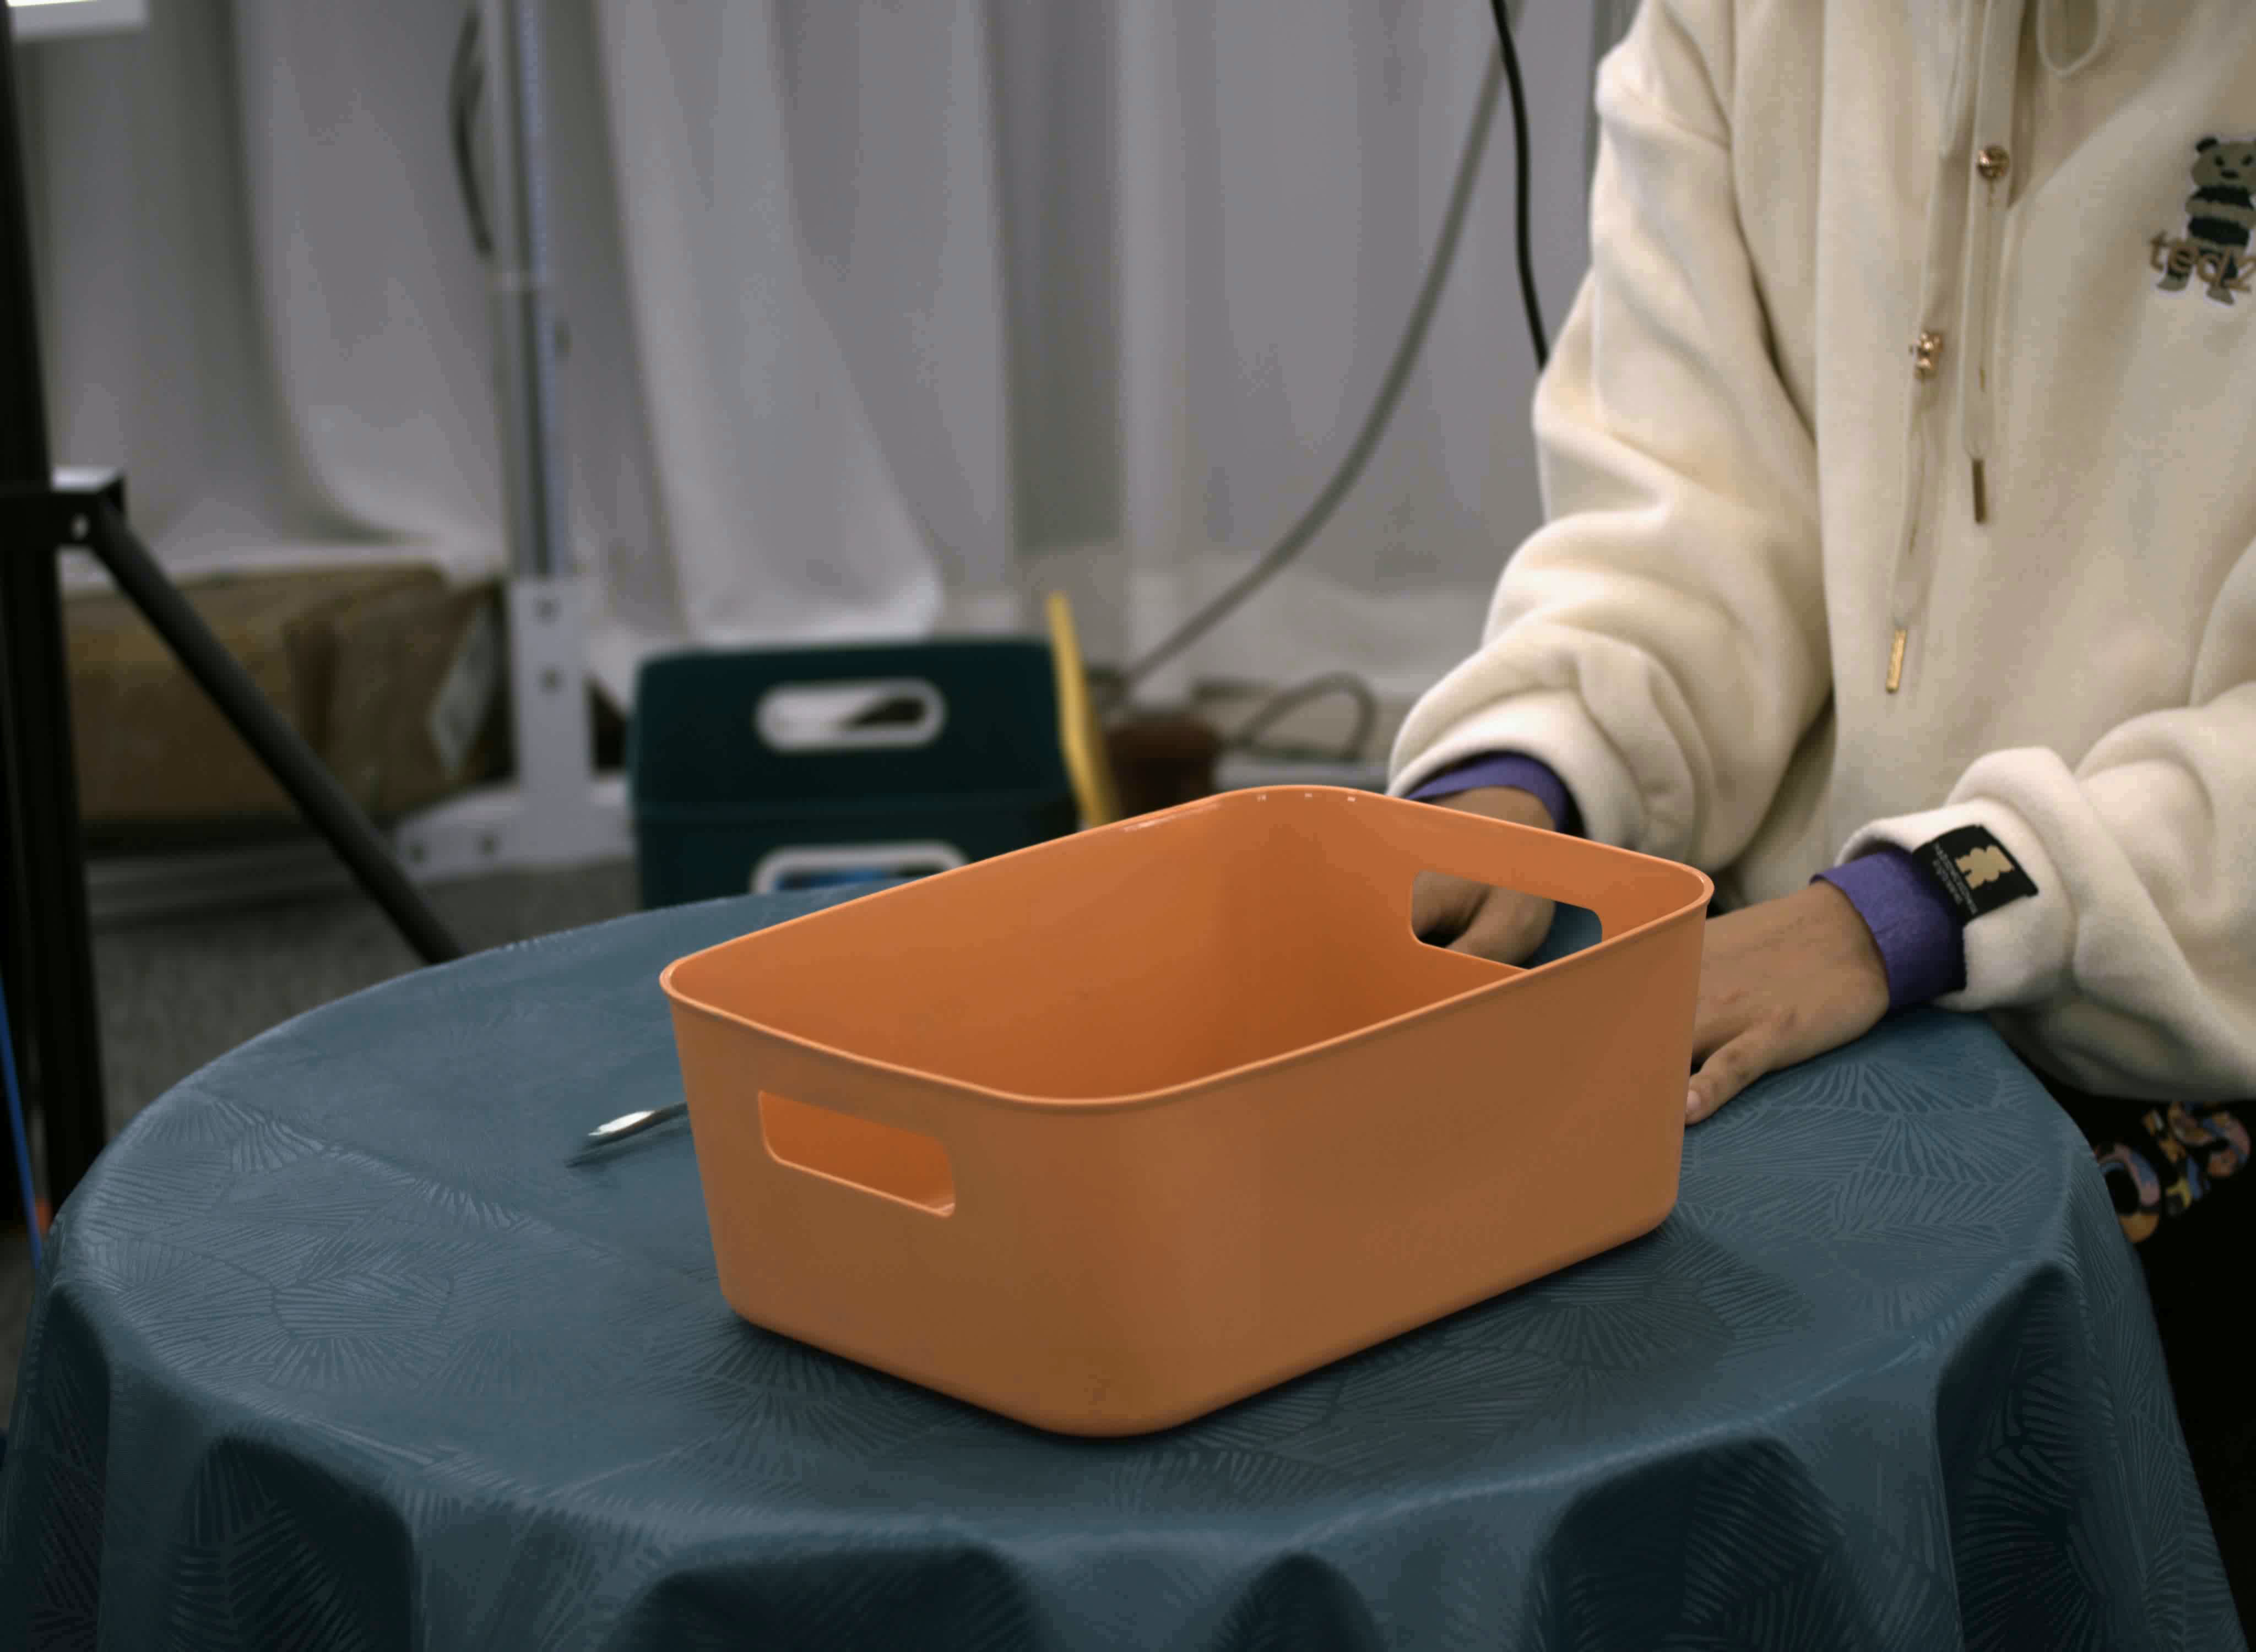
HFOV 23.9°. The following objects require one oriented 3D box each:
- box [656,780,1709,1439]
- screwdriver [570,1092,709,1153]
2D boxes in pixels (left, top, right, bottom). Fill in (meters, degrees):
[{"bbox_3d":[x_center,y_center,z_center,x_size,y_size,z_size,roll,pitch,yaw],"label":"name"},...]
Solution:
[{"bbox_3d":[0.021,0.075,1.478,0.267,0.102,0.204,-17,21,-41],"label":"box"},{"bbox_3d":[-0.098,0.071,1.668,0.193,0.031,0.032,-18,22,-36],"label":"screwdriver"}]
